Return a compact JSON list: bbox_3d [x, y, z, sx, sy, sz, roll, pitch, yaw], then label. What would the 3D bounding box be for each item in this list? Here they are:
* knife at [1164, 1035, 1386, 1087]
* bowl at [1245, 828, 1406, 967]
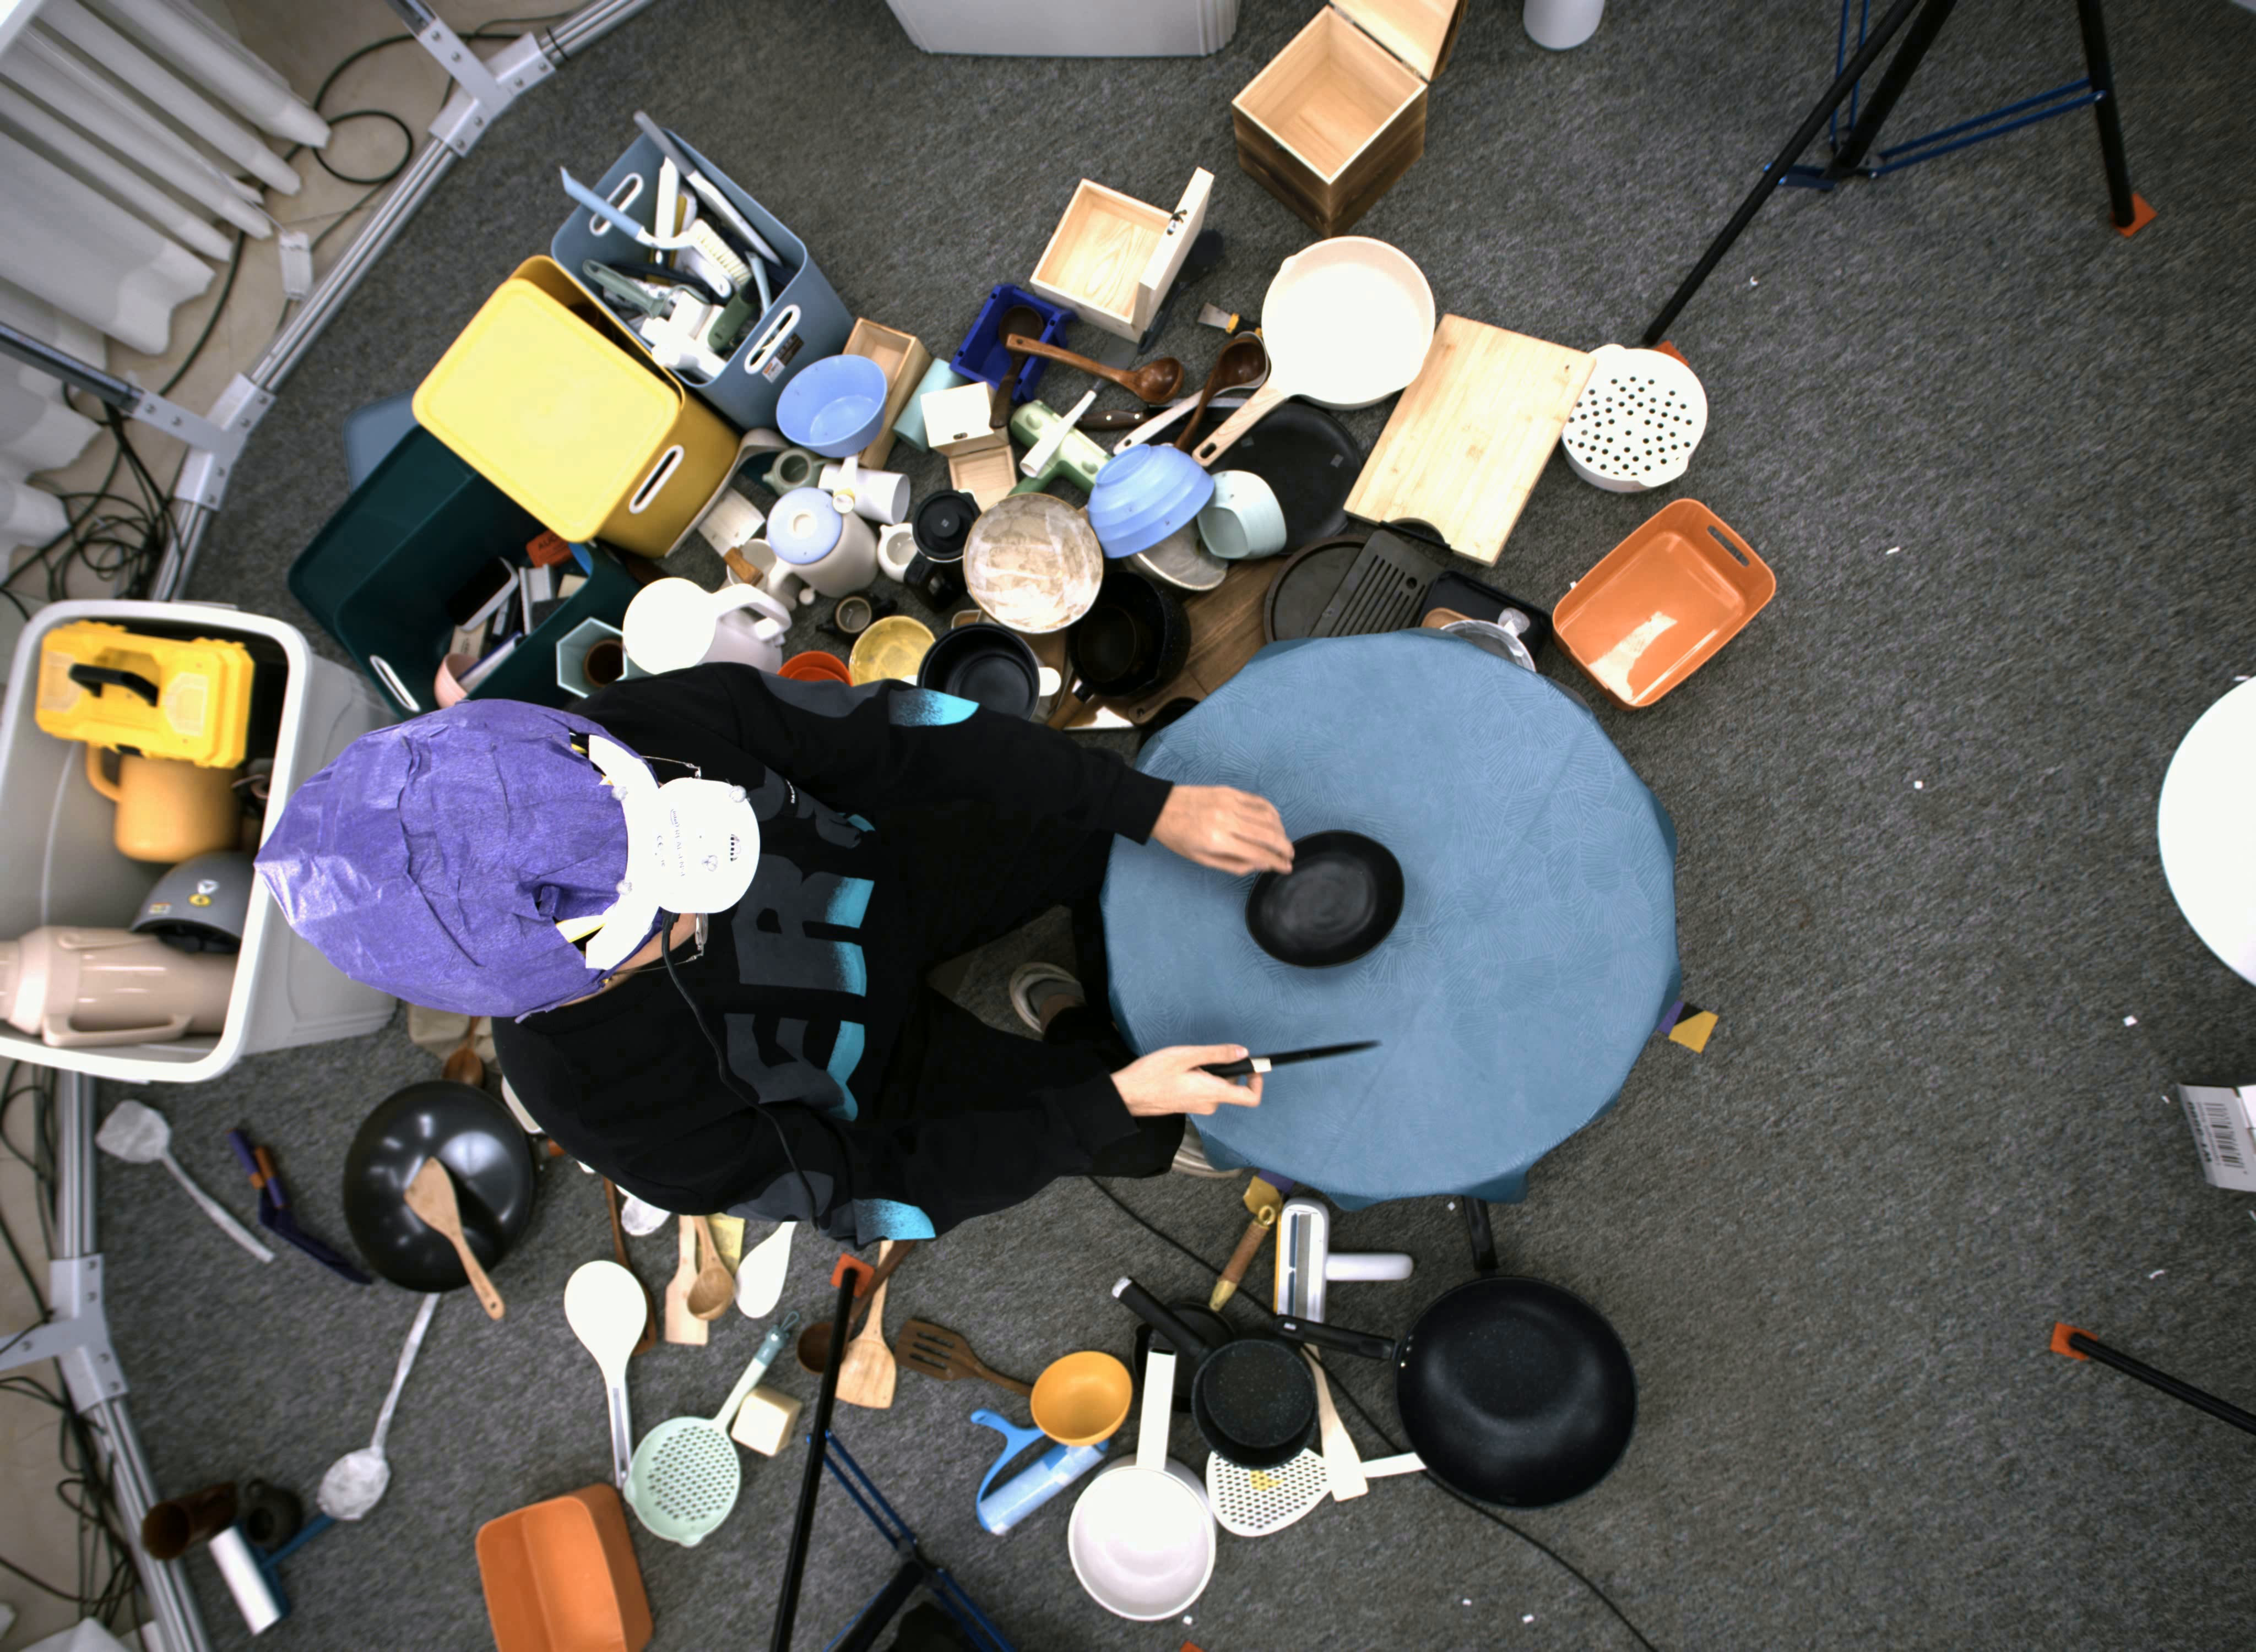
[{"bbox_3d":[0.146,0.234,1.385,0.226,0.025,0.017,-11,122,8],"label":"knife"},{"bbox_3d":[0.207,0.077,1.439,0.171,0.066,0.136,-26,82,10],"label":"bowl"}]
